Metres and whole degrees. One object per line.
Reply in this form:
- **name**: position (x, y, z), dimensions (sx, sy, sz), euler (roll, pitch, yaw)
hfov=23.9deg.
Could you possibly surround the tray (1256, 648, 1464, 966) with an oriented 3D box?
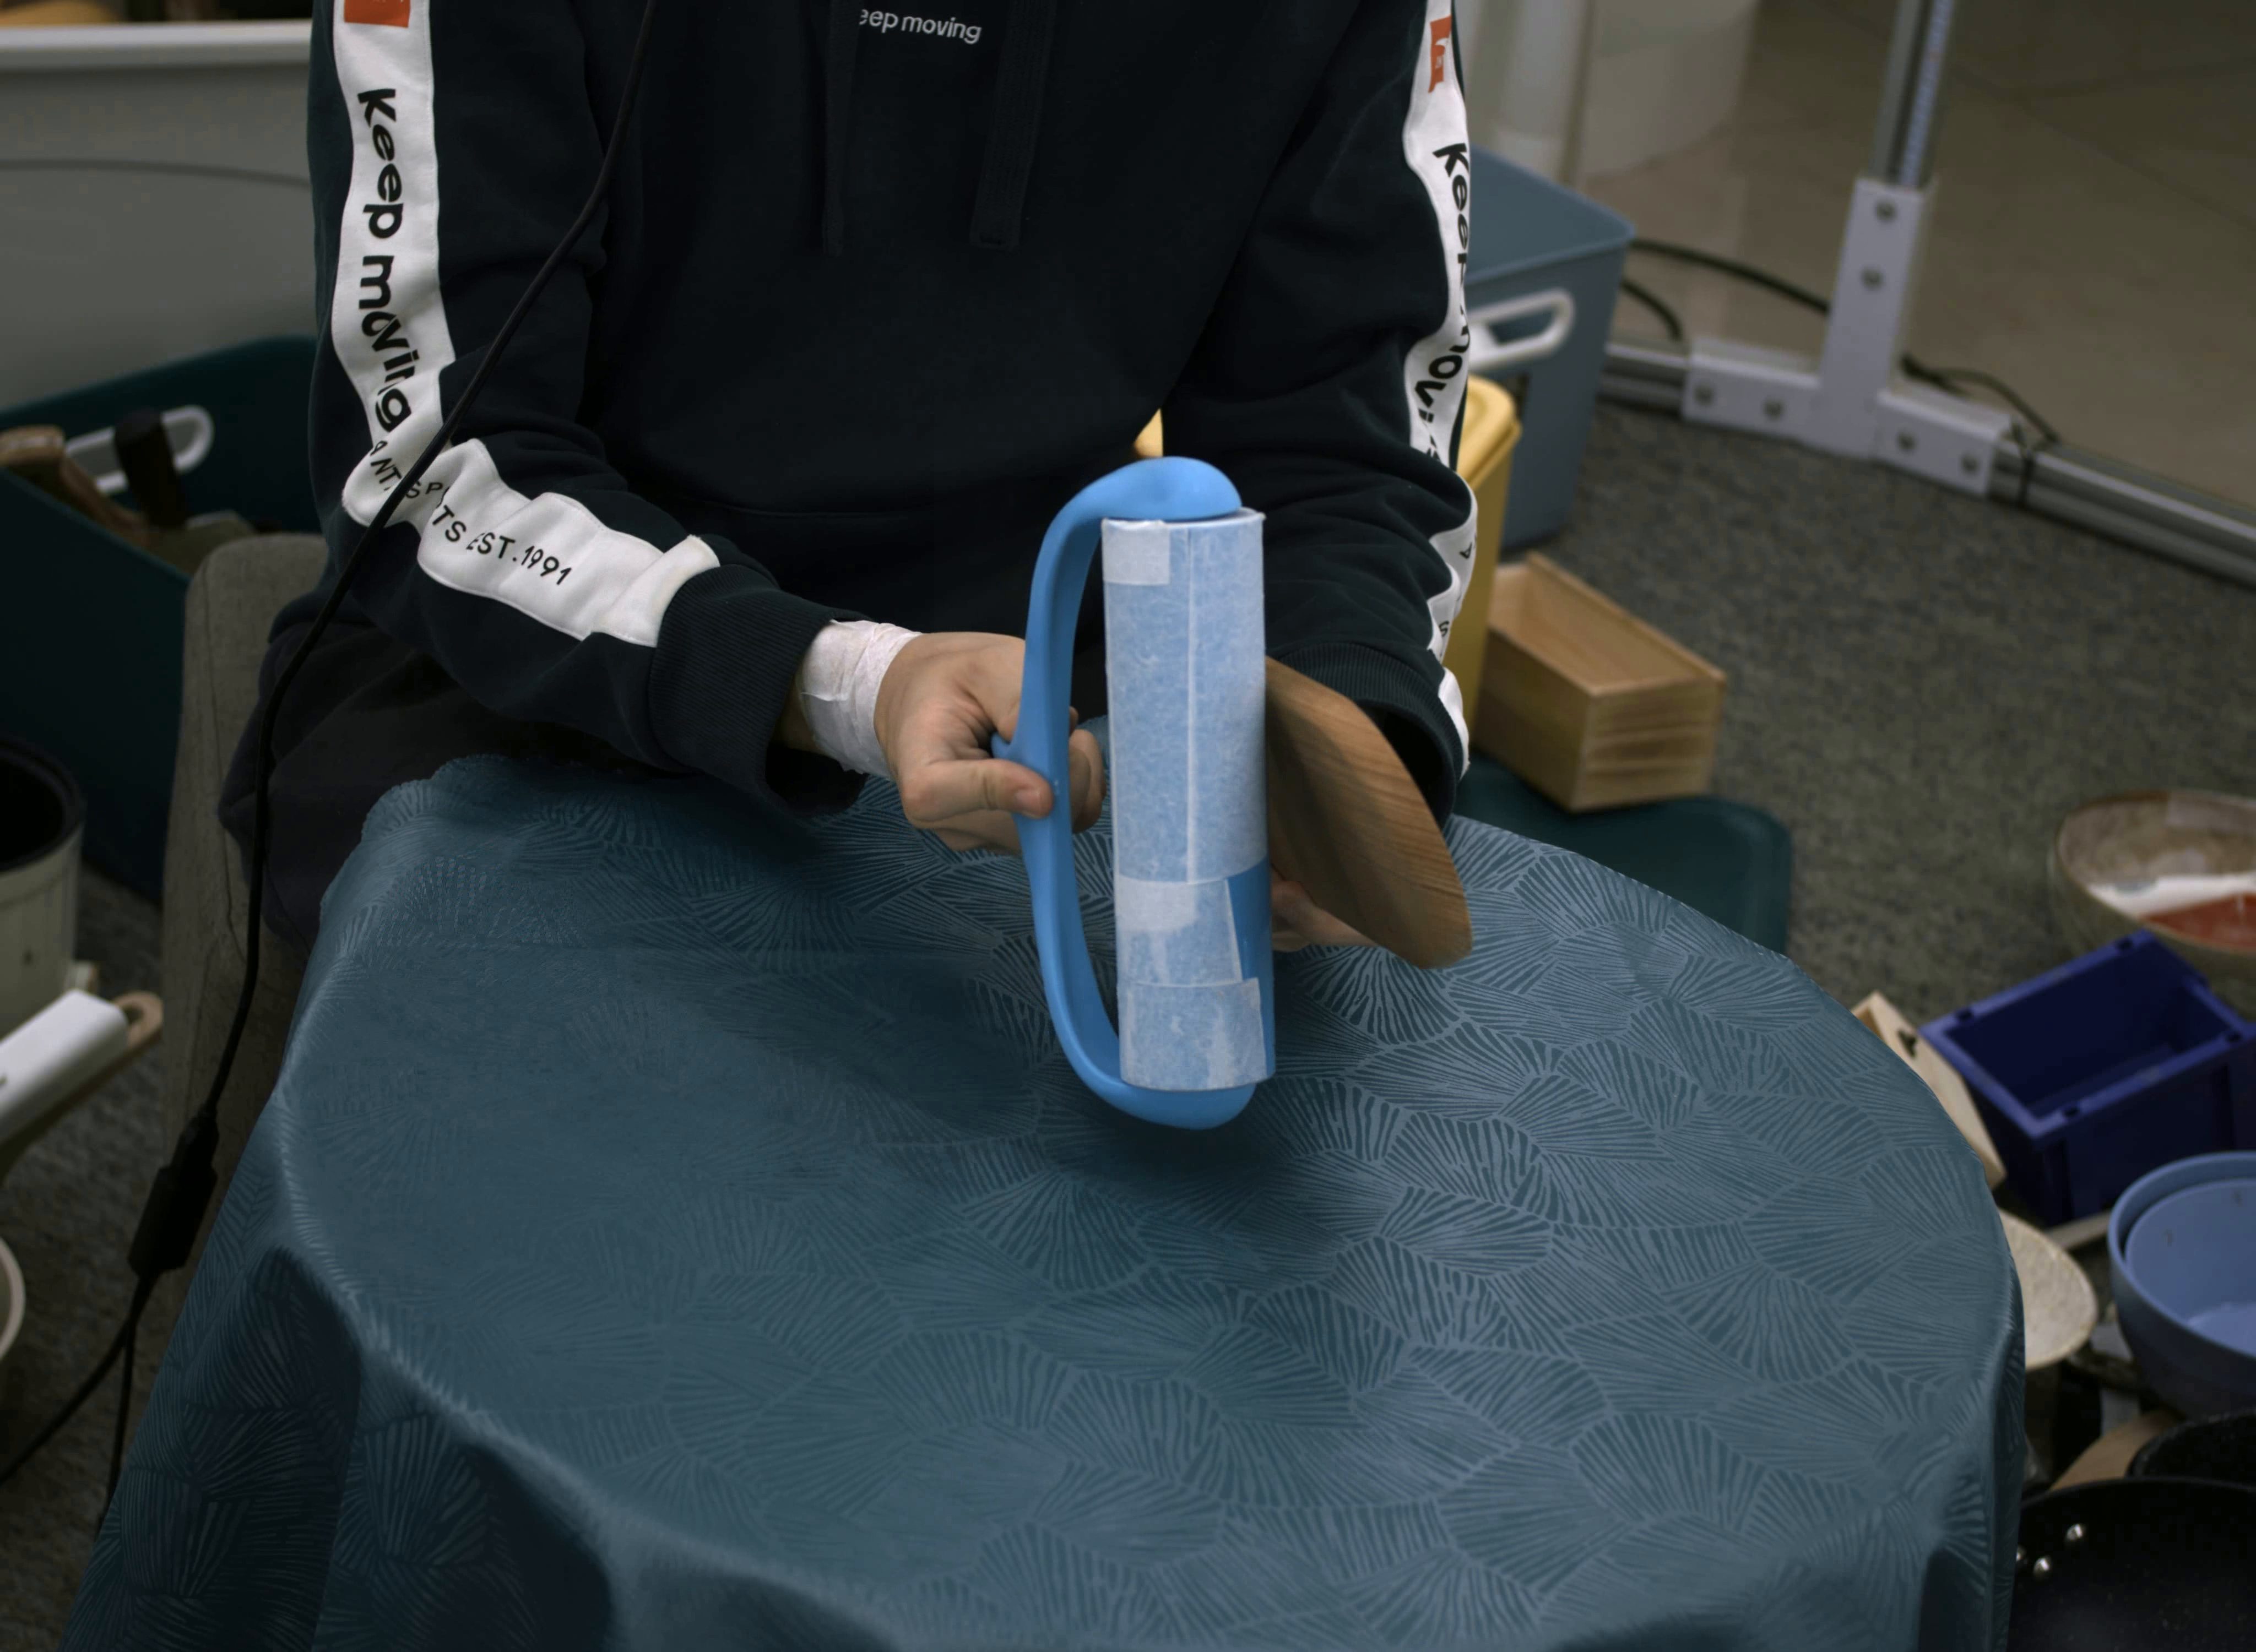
- **tray**: position (0.057, -0.013, 1.824), dimensions (0.020, 0.101, 0.232), euler (-27, 20, -14)

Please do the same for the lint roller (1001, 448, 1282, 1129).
- **lint roller**: position (-0.010, -0.016, 1.830), dimensions (0.067, 0.229, 0.181), euler (-8, 8, -29)
